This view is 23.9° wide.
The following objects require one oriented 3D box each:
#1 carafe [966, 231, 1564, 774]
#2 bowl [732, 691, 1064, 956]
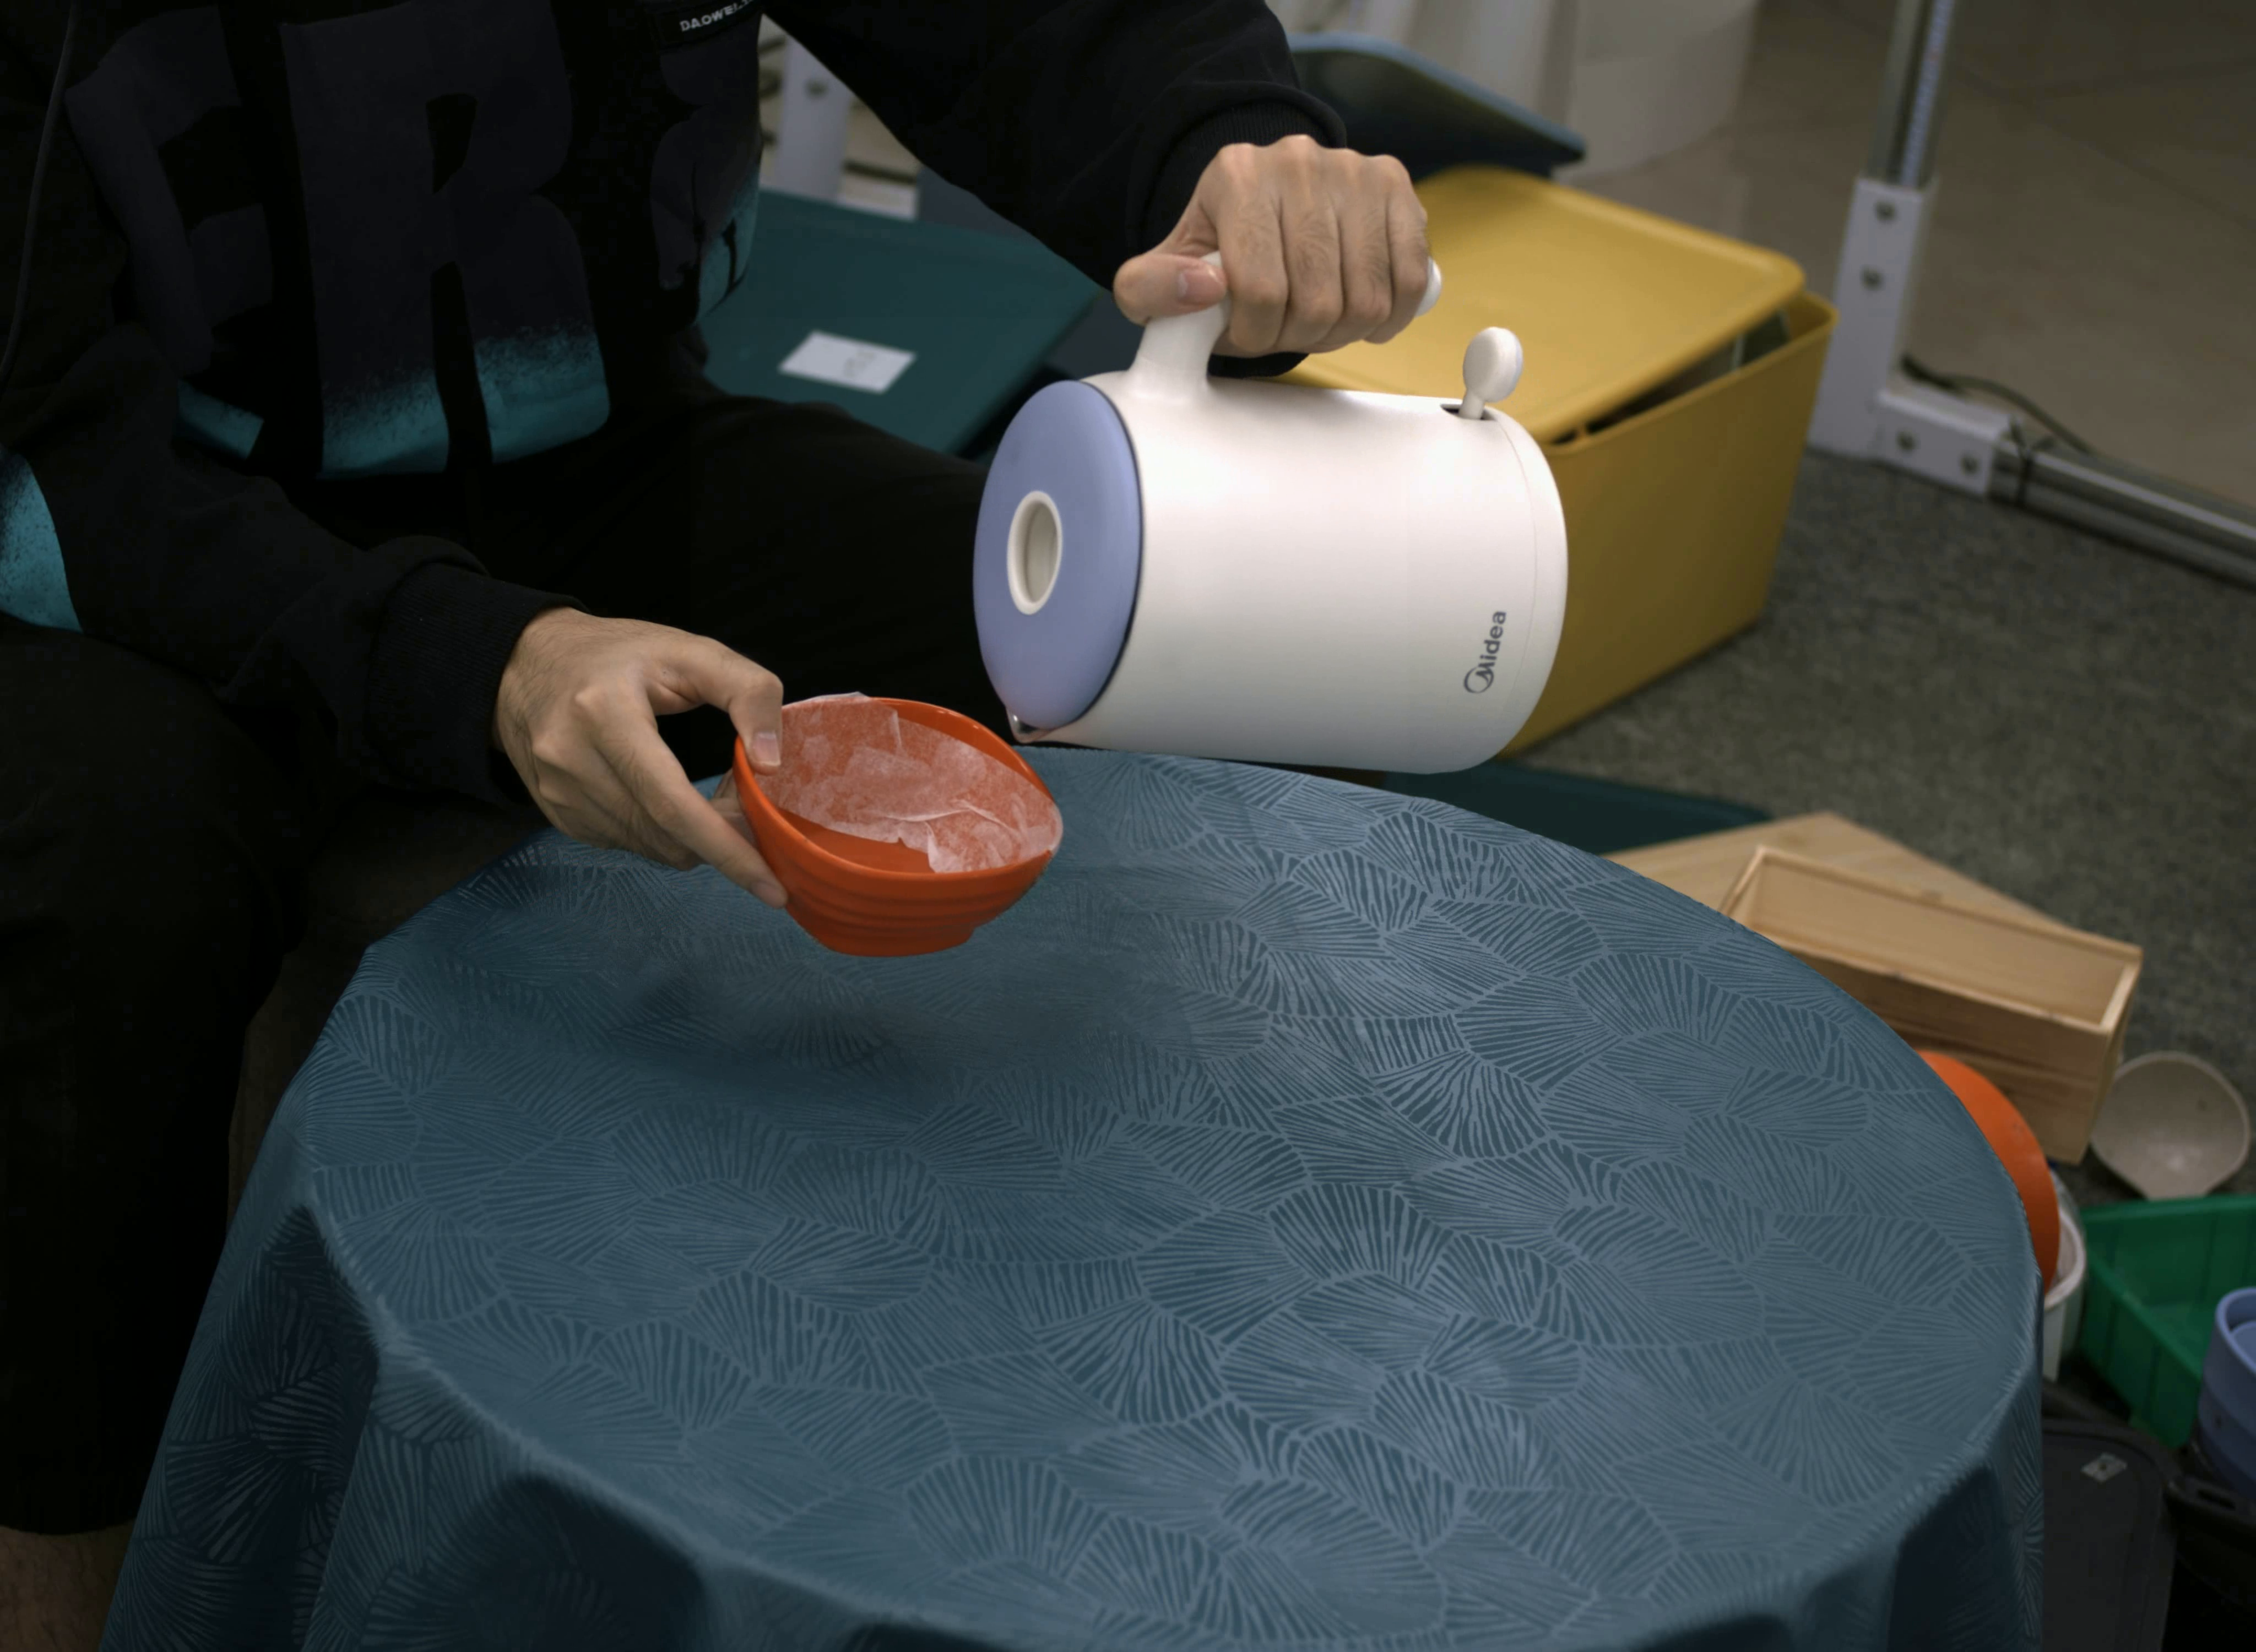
[{"bbox_3d":[0.053,-0.111,1.824,0.181,0.191,0.133,6,18,-28],"label":"carafe"},{"bbox_3d":[-0.084,0.004,1.846,0.118,0.051,0.120,10,33,-7],"label":"bowl"}]
